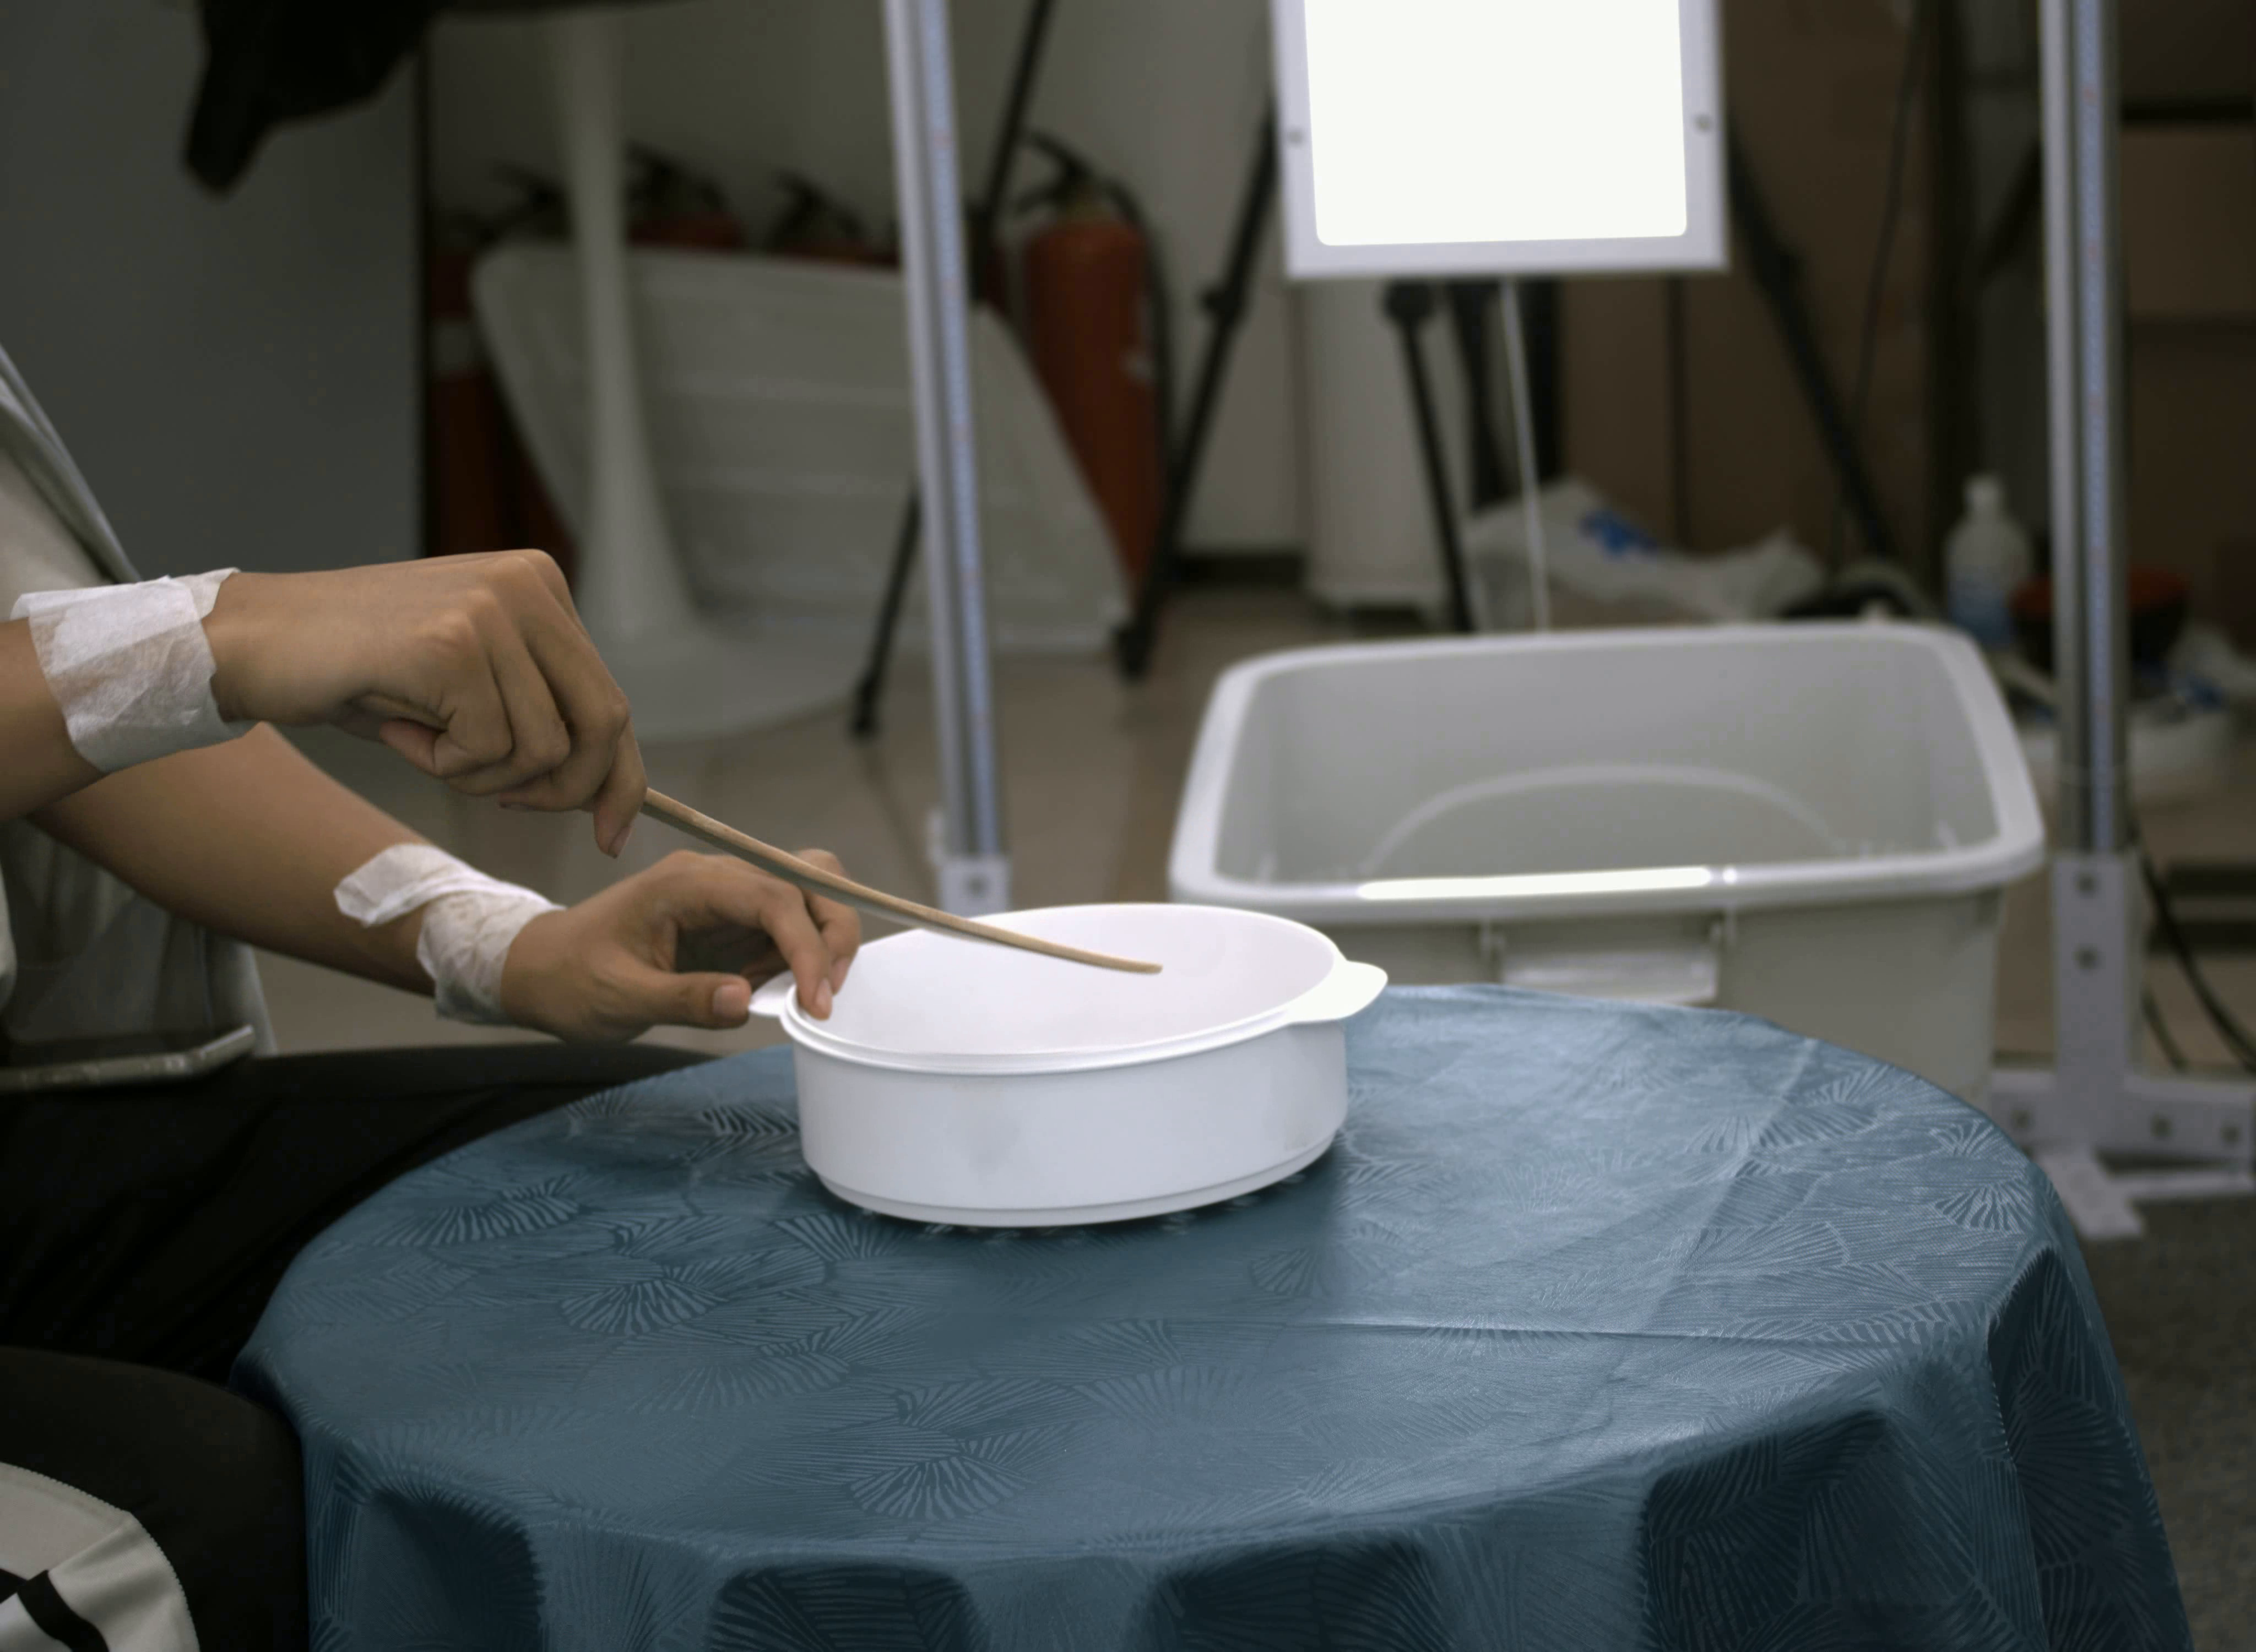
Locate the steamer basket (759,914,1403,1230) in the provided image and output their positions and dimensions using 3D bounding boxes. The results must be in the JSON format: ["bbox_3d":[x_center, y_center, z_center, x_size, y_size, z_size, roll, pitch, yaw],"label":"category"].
[{"bbox_3d":[-0.015,0.086,1.932,0.233,0.069,0.198,-1,13,20],"label":"steamer basket"}]

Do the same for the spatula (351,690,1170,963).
[{"bbox_3d":[-0.121,0.002,1.774,0.320,0.016,0.081,22,-9,-42],"label":"spatula"}]
